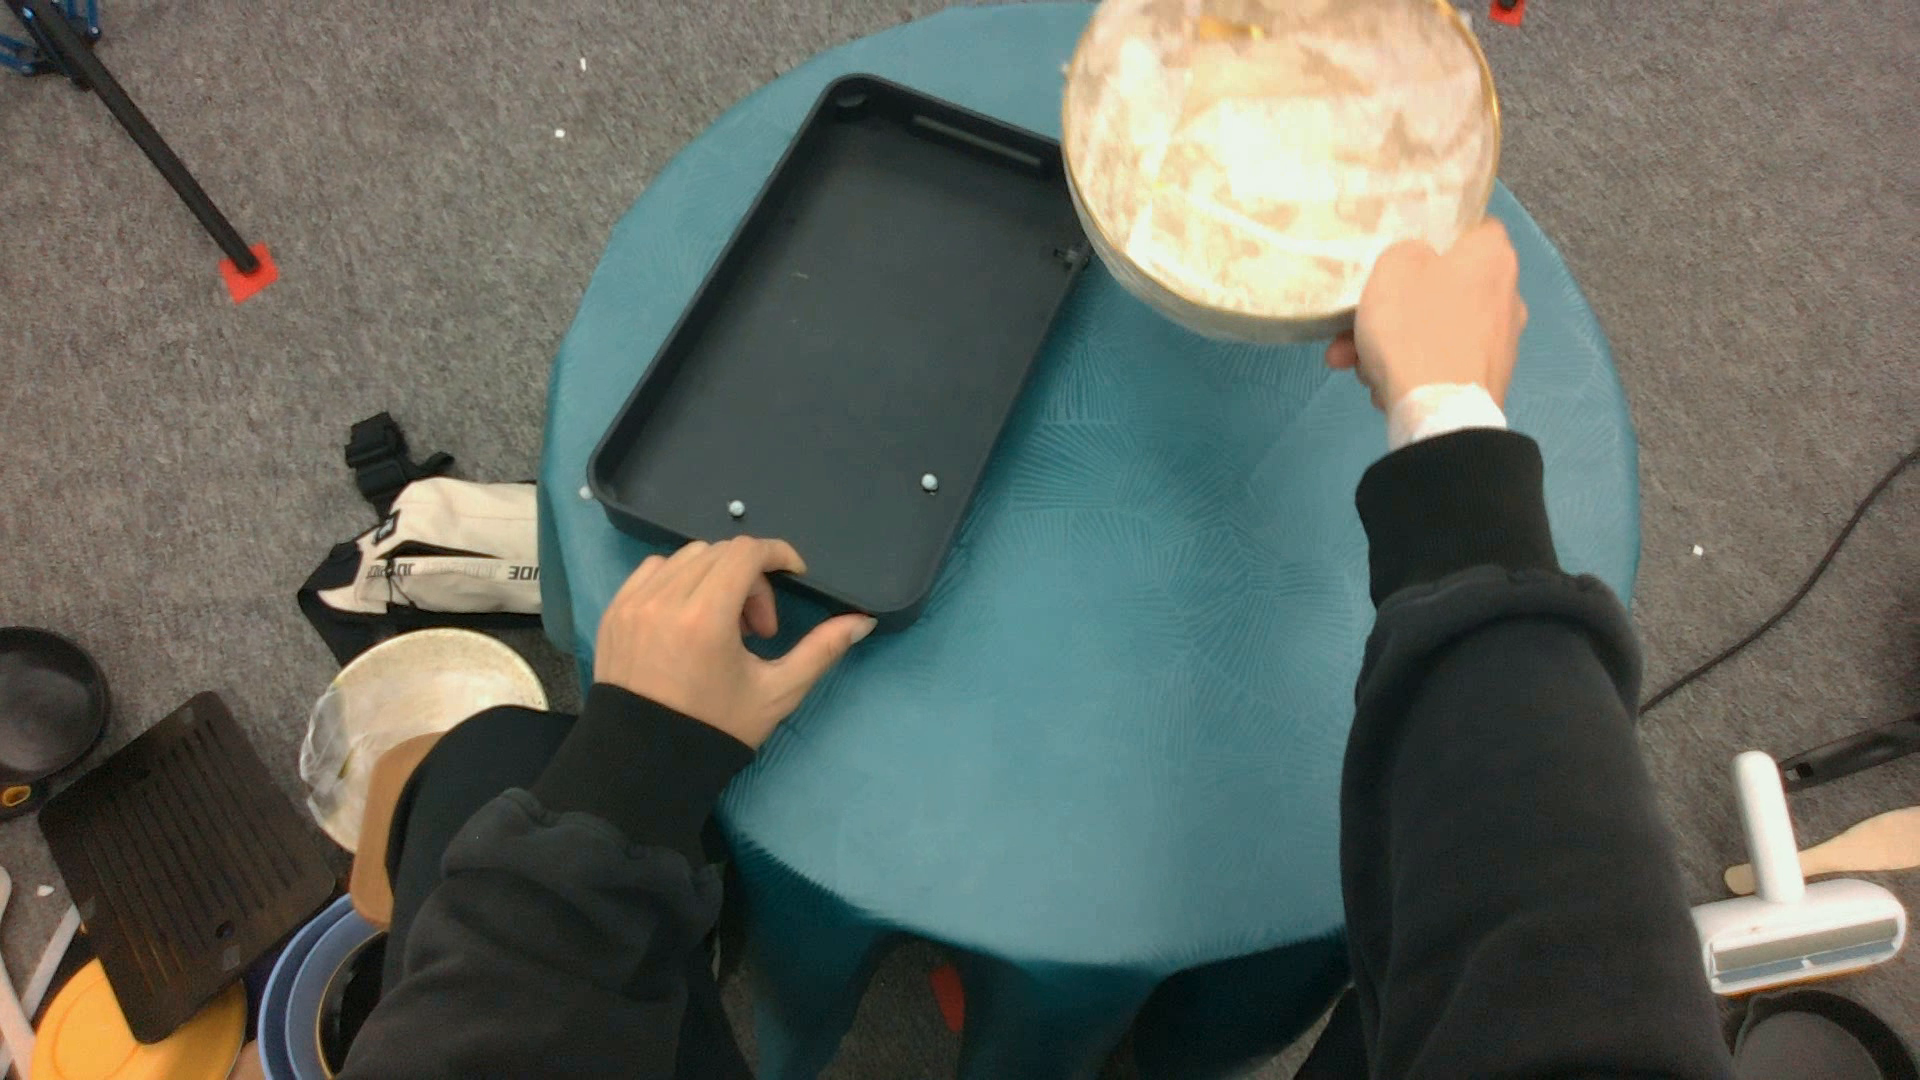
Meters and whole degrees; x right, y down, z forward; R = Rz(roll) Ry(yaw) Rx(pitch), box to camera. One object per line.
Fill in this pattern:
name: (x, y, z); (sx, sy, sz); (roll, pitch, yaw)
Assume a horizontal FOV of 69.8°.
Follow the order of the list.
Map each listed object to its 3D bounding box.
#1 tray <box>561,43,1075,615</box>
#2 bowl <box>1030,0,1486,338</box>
tray: (-0.060, -0.125, 0.746); (0.184, 0.037, 0.319); (23, 65, 5)
bowl: (0.141, -0.179, 0.686); (0.215, 0.094, 0.215); (0, 71, 0)
